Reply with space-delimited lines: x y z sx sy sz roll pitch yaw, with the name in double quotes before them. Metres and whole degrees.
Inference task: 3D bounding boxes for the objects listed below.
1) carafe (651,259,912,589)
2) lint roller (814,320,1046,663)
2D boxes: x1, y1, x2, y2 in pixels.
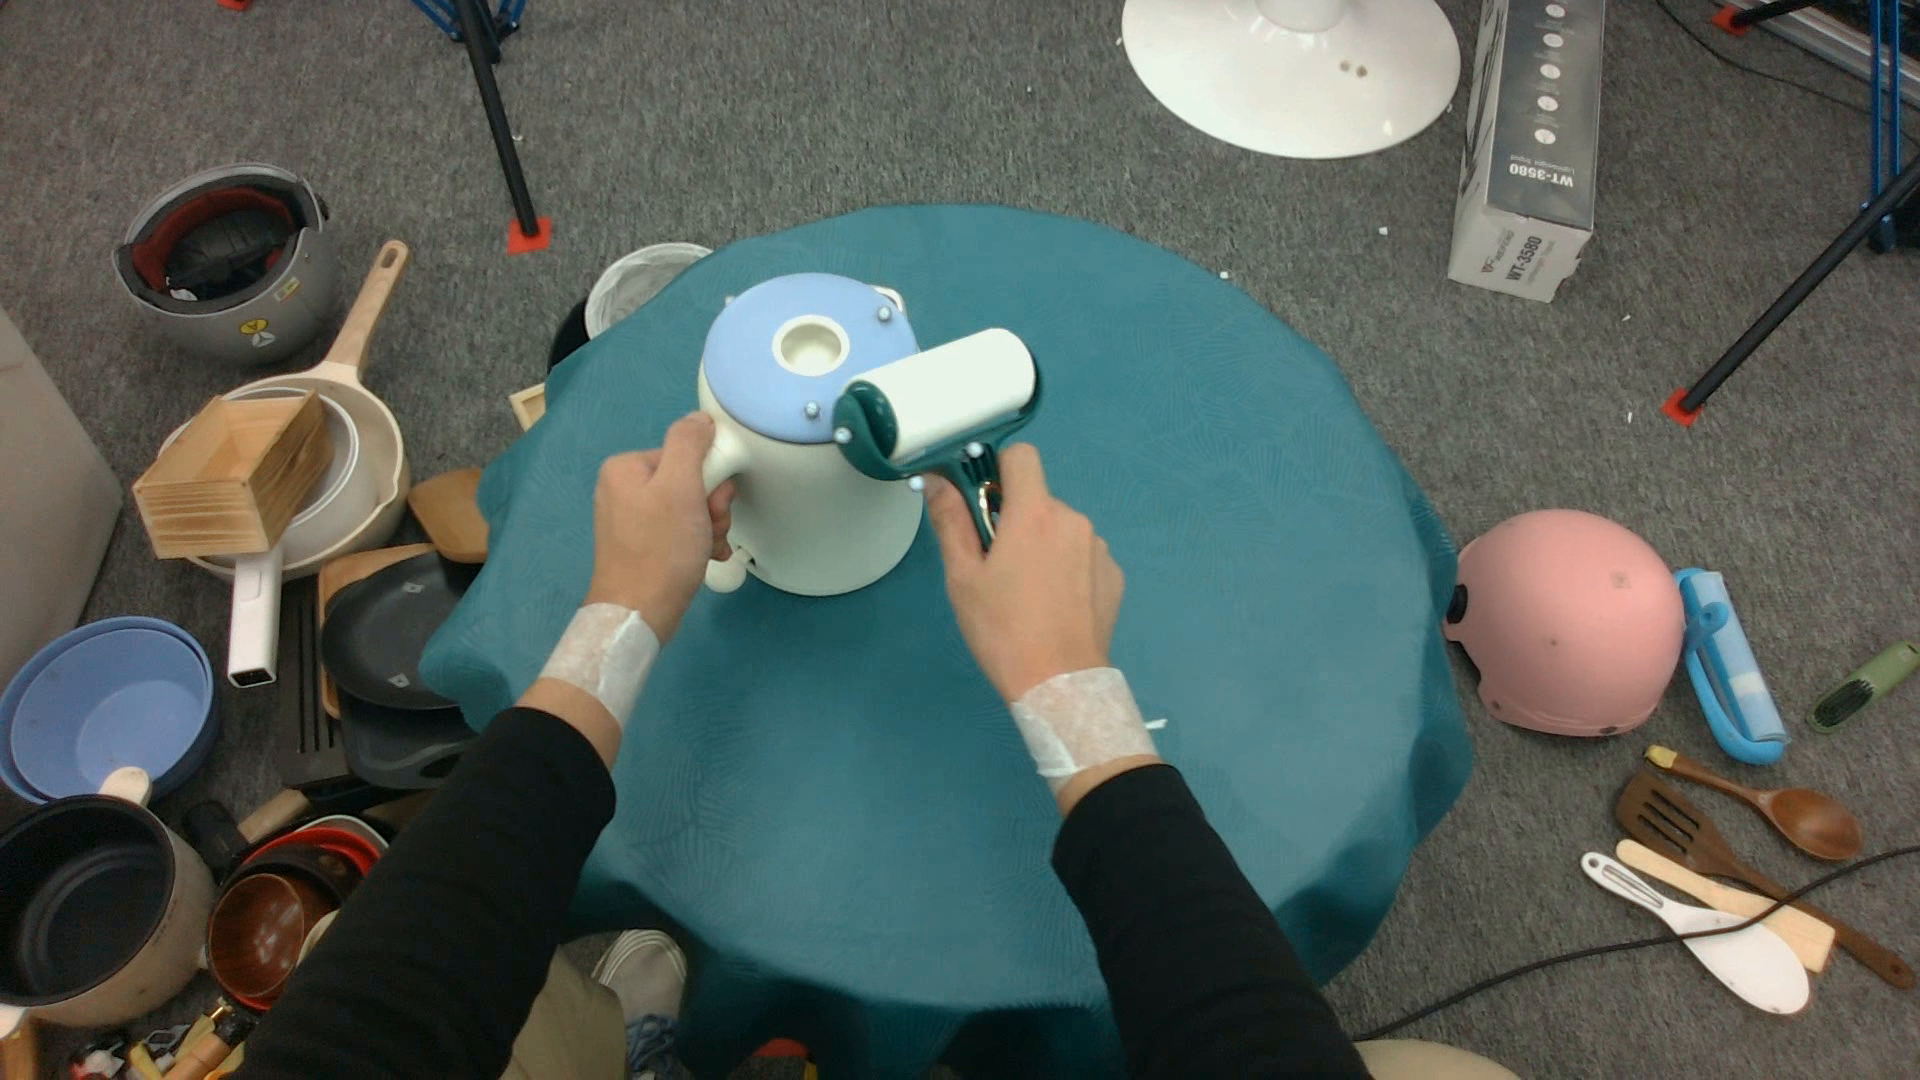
"carafe" -0.109 -0.051 0.816 0.132 0.181 0.192 38 65 18
"lint roller" 0.010 -0.021 0.722 0.135 0.048 0.180 -26 88 -38
